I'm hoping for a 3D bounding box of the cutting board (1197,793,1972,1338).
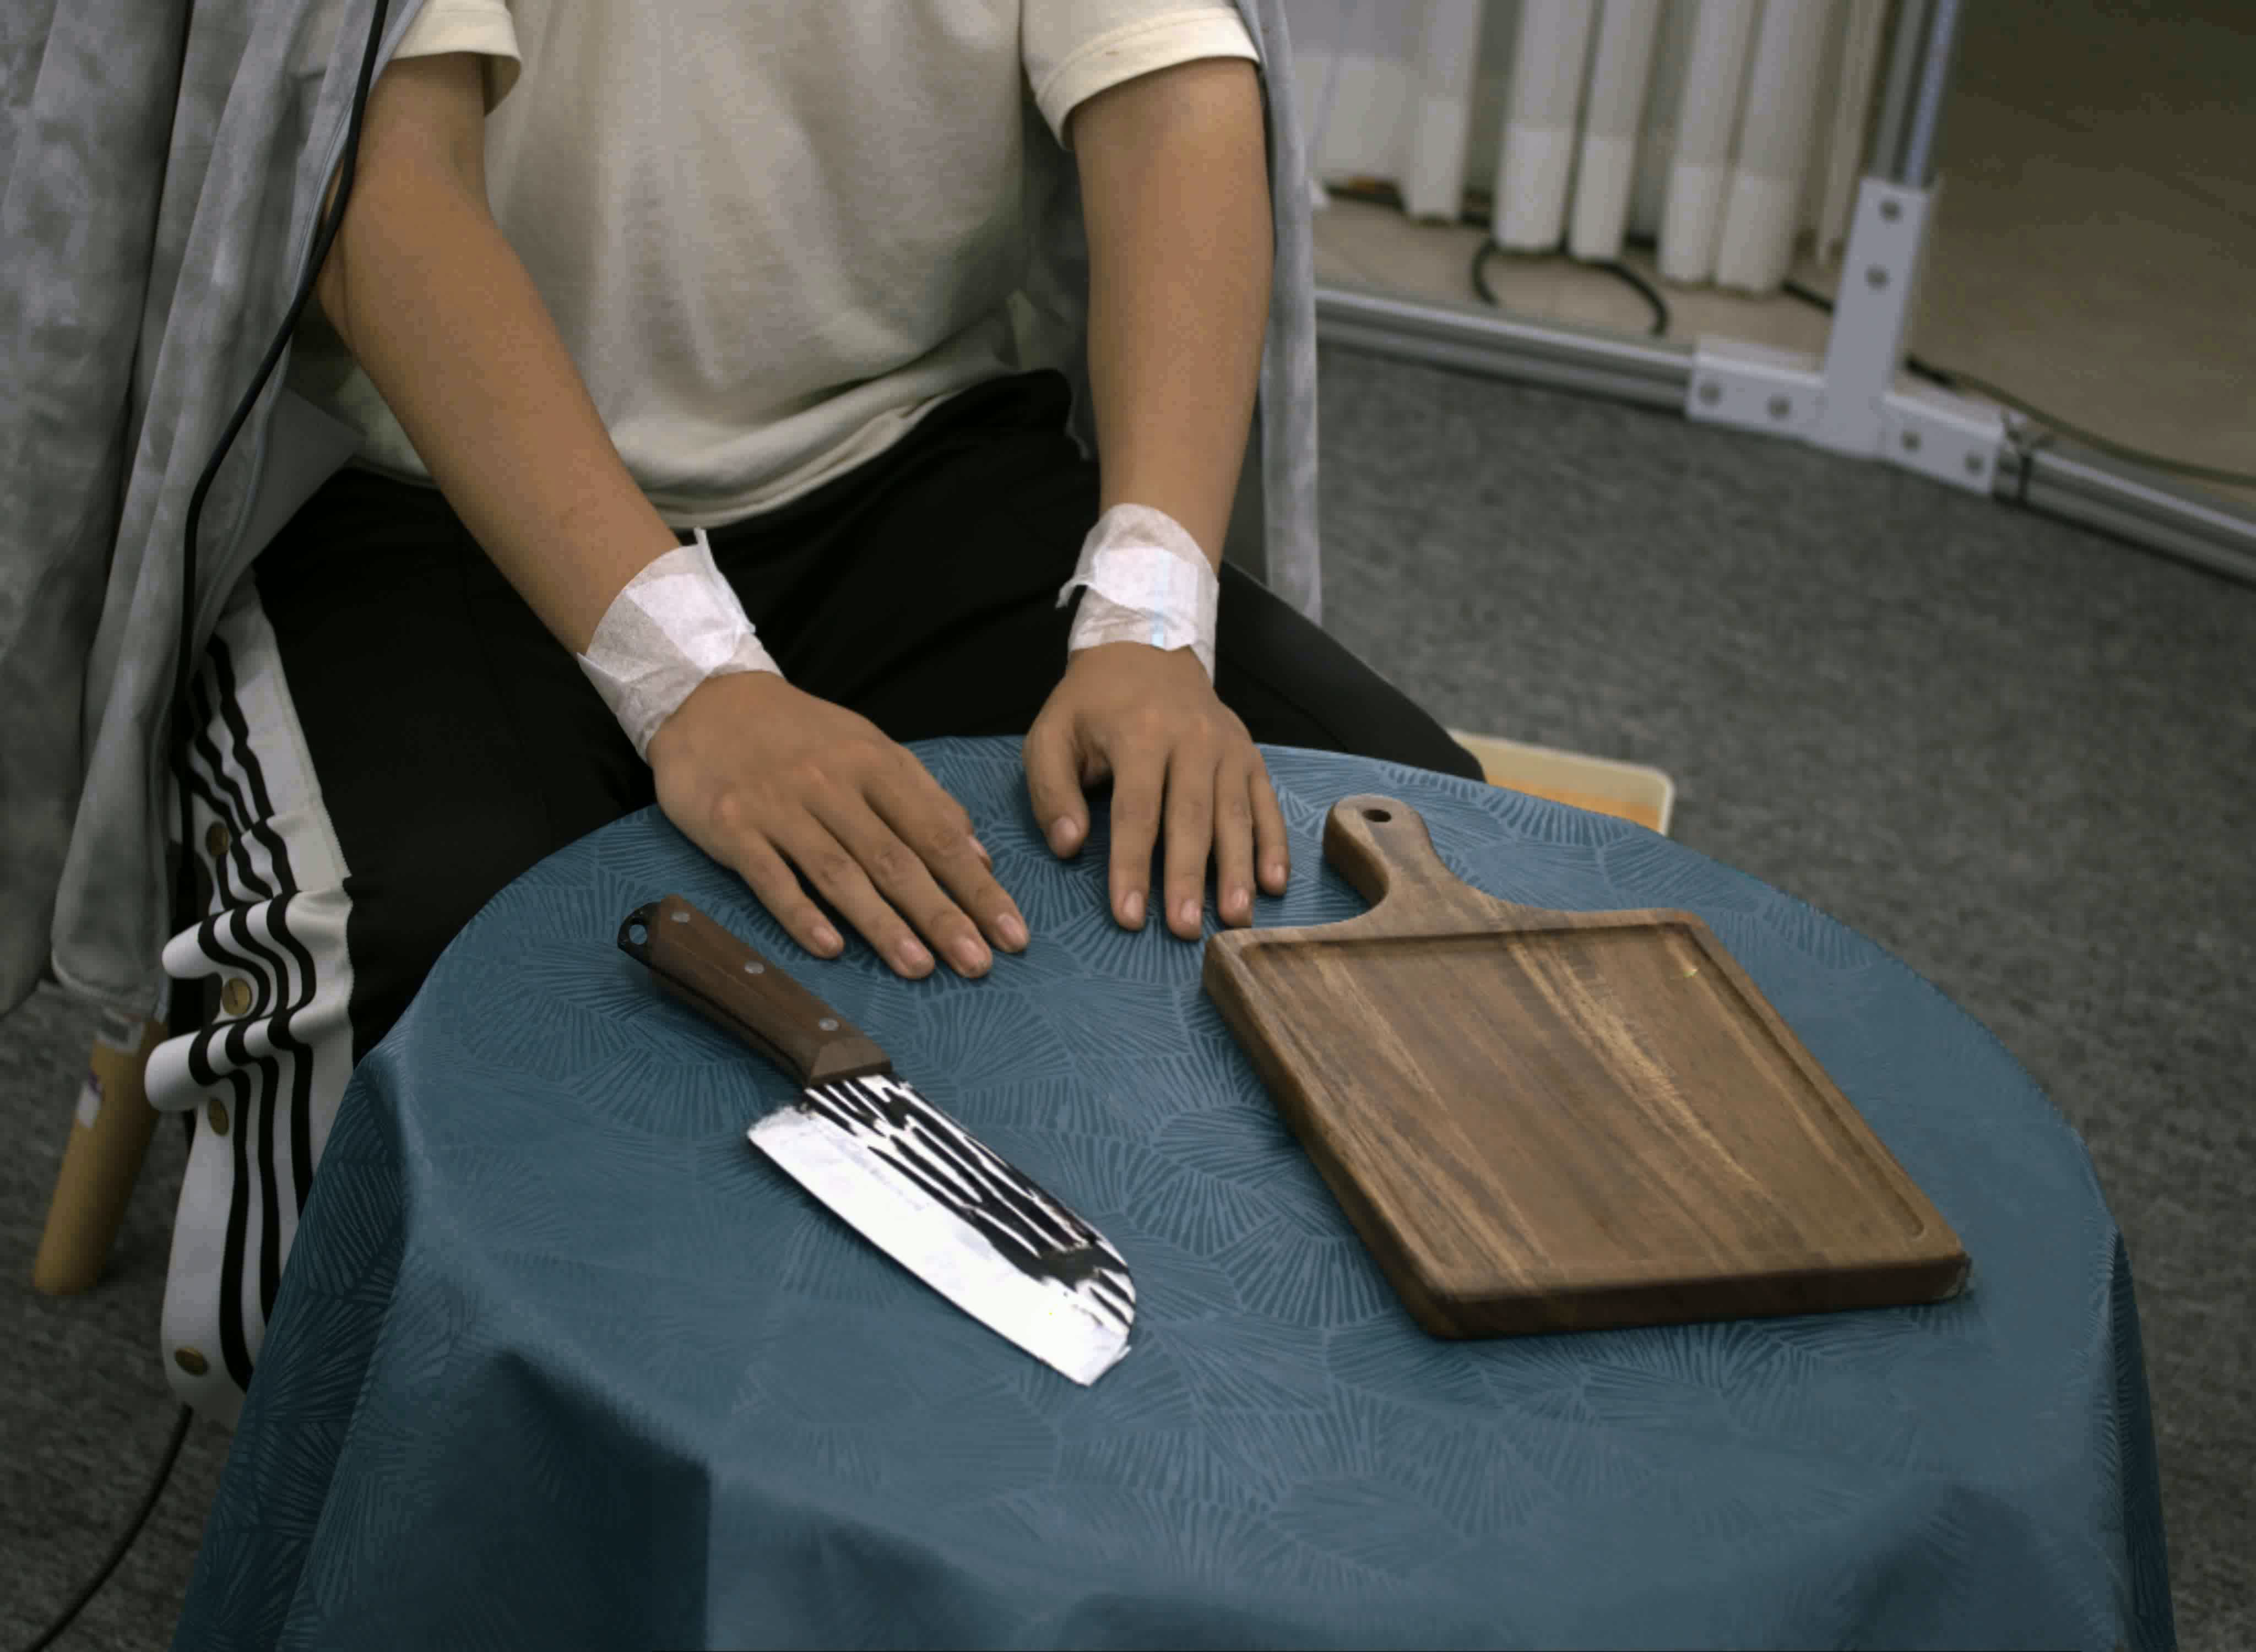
[{"bbox_3d":[0.140,0.076,1.907,0.200,0.023,0.355,-3,28,-18],"label":"cutting board"}]

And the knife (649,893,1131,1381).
[{"bbox_3d":[-0.090,0.104,1.803,0.068,0.024,0.302,-17,38,-35],"label":"knife"}]
